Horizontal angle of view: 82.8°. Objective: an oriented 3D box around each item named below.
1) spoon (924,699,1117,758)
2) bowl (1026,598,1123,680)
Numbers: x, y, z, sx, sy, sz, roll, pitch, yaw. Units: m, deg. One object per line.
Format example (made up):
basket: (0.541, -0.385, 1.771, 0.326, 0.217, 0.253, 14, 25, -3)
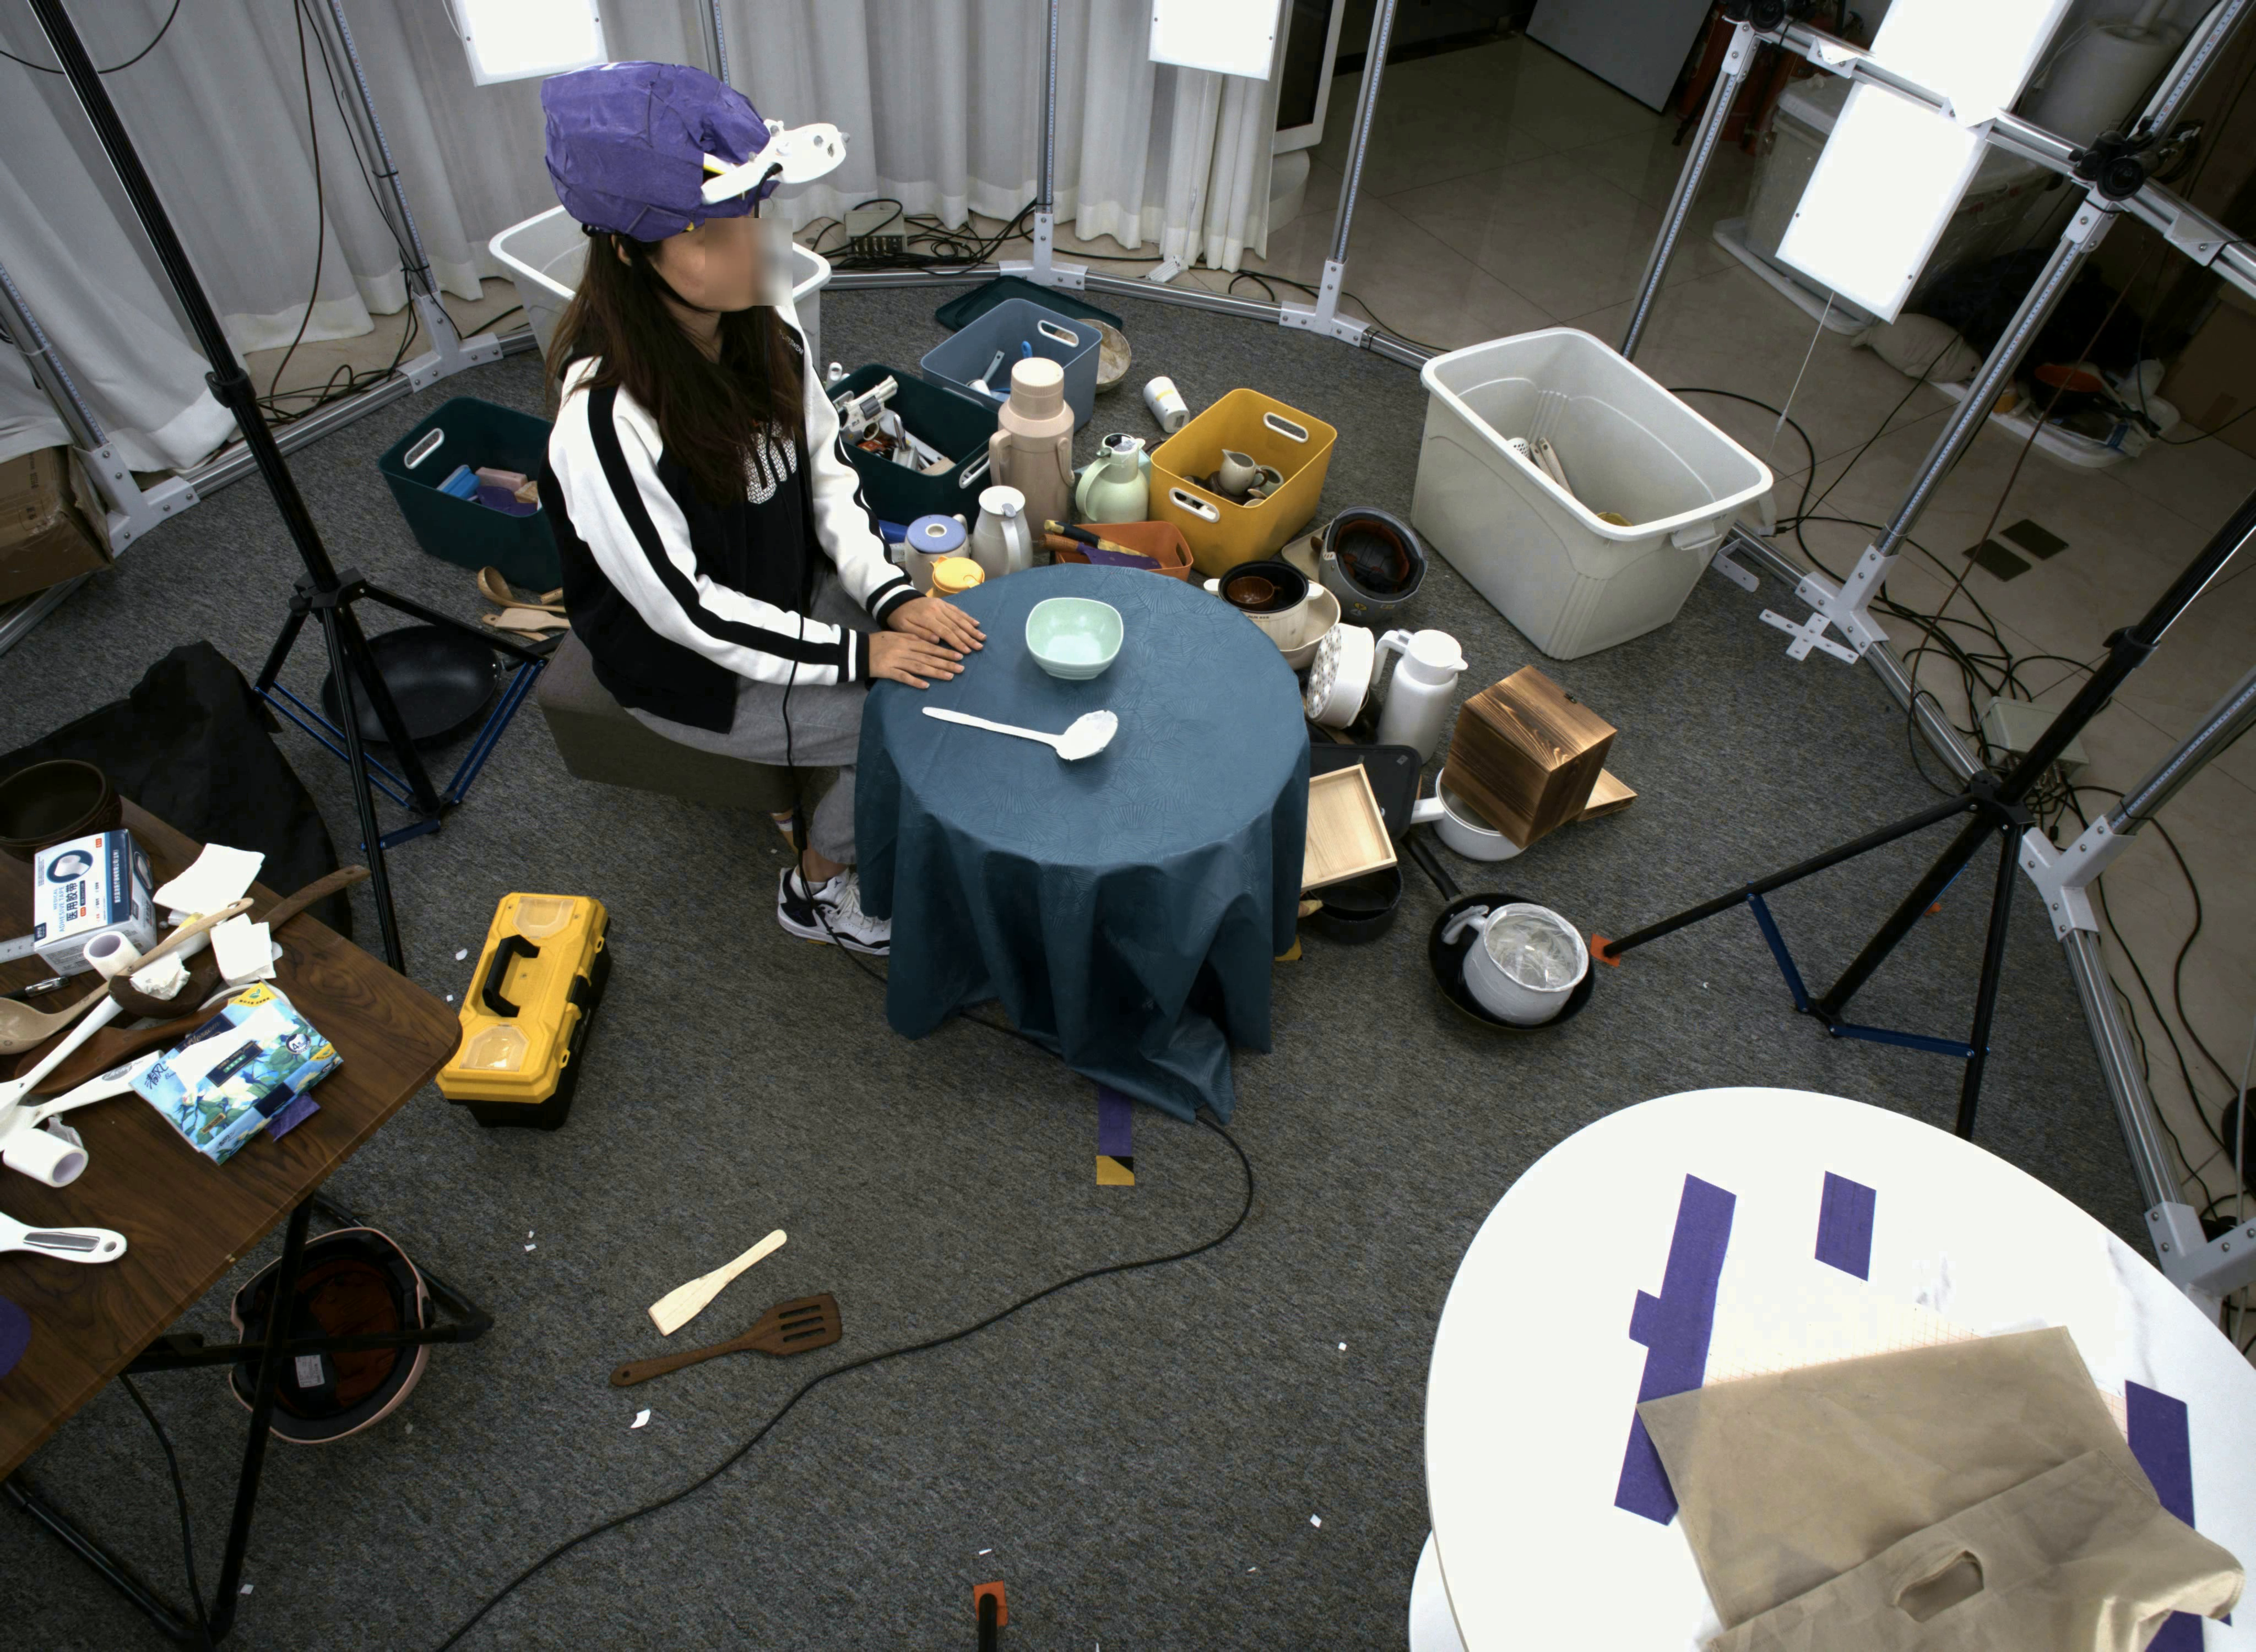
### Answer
spoon: (-0.149, -0.154, 1.757, 0.278, 0.058, 0.103, 17, 45, 11)
bowl: (-0.078, -0.261, 1.857, 0.151, 0.057, 0.155, 2, 50, -3)
